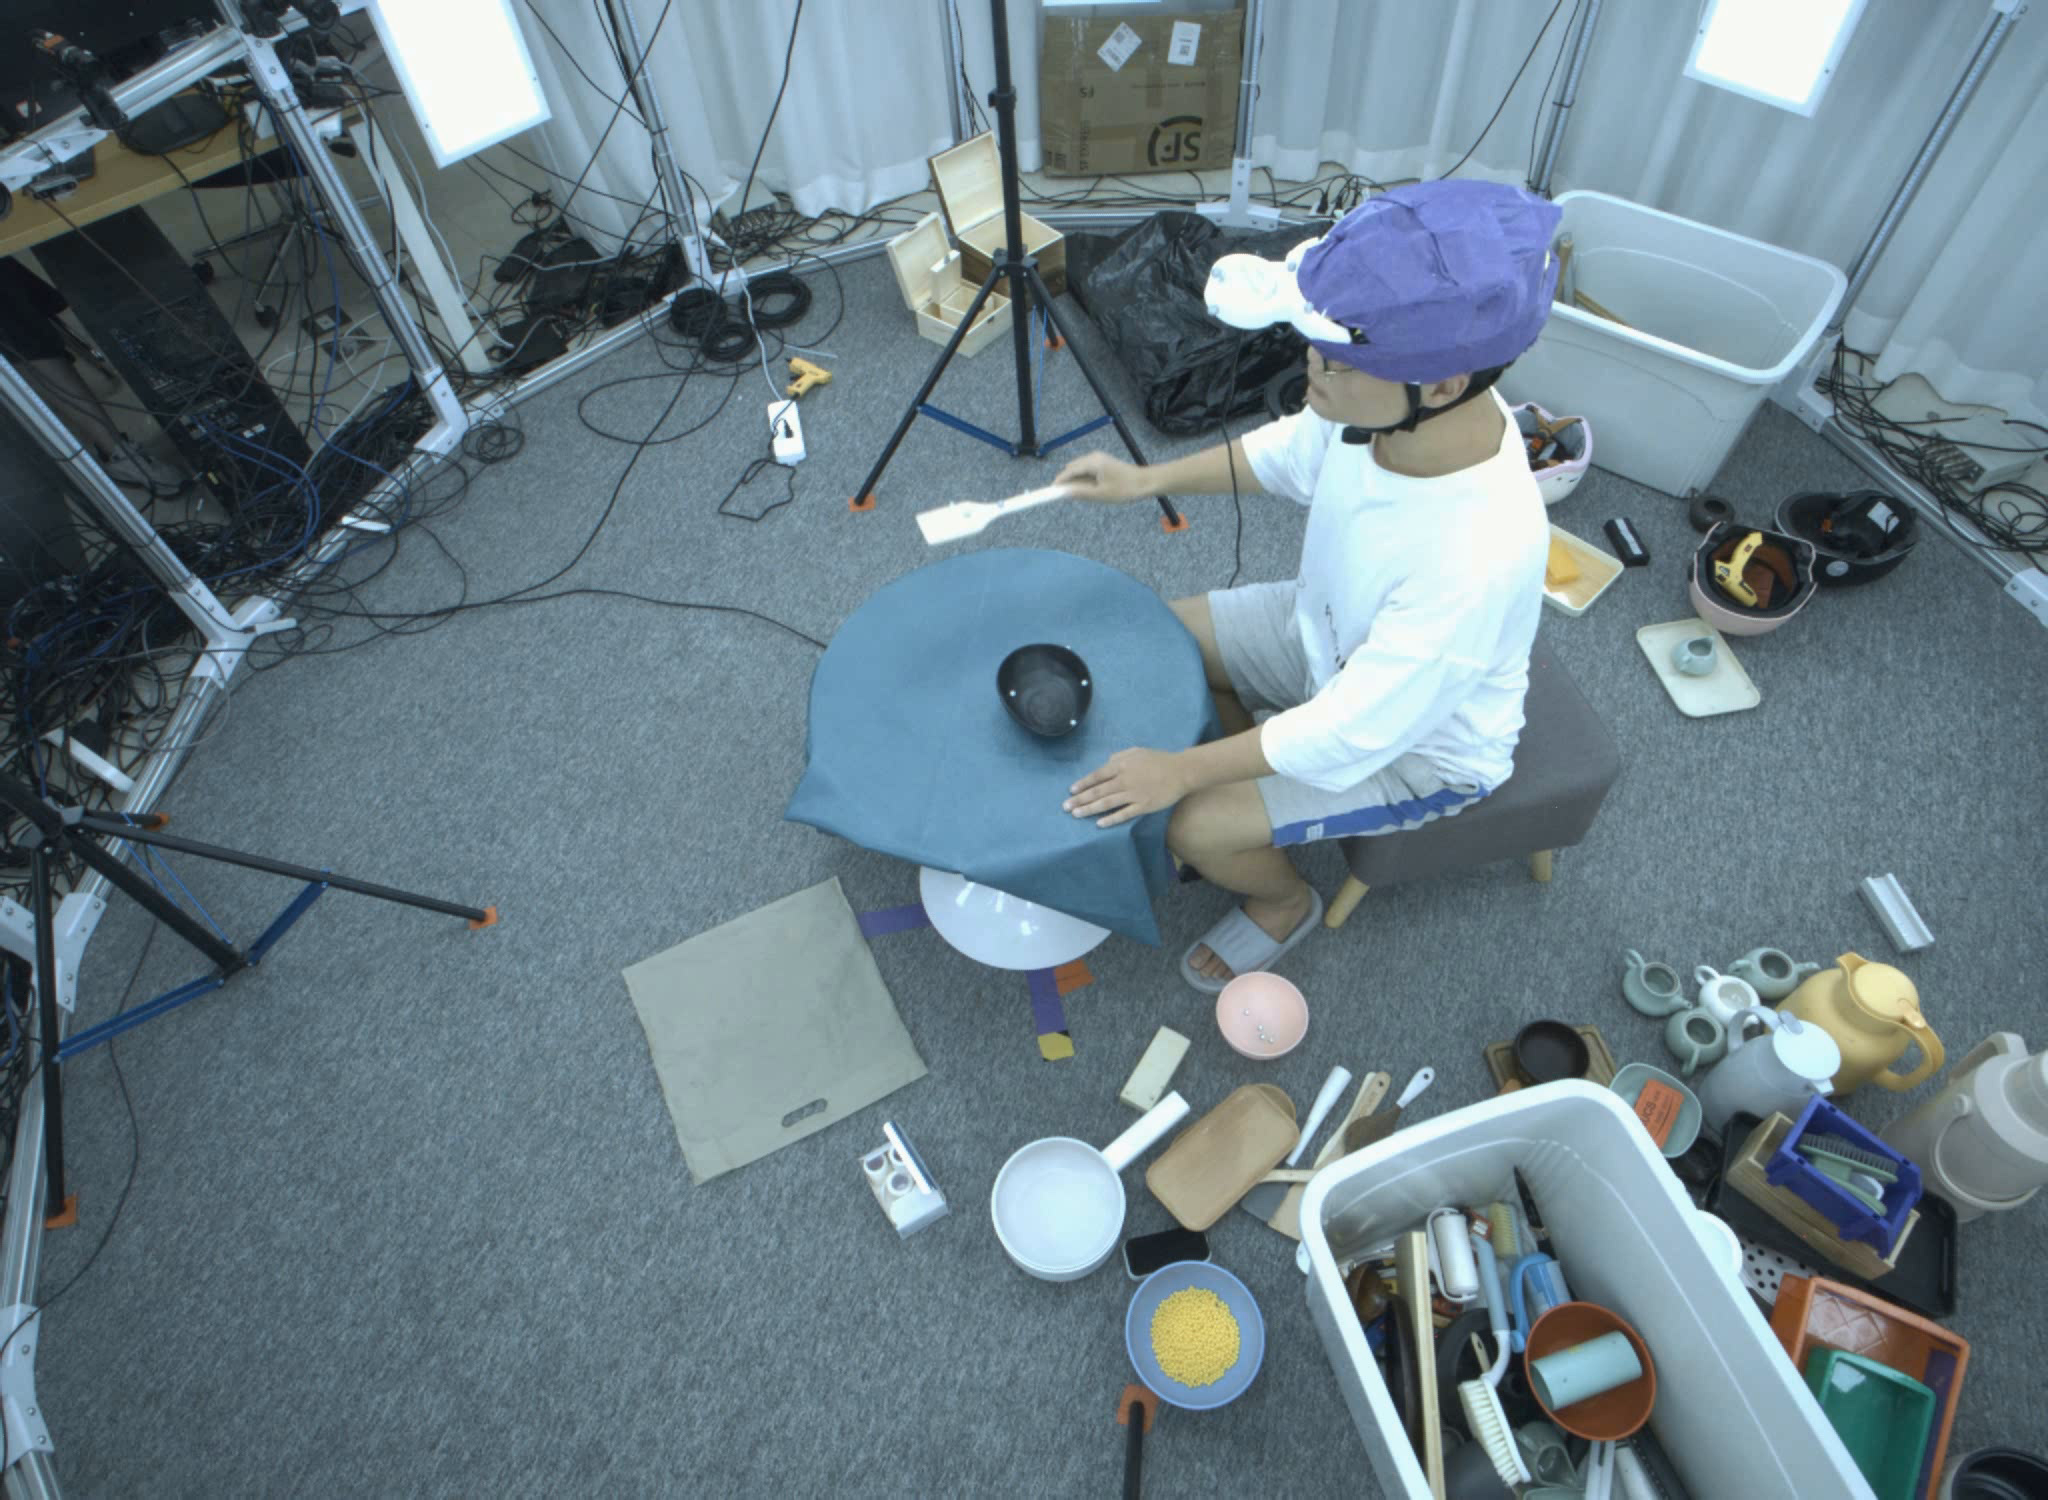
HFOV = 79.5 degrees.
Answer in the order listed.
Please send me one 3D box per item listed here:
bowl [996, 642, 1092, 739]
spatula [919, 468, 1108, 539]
[{"bbox_3d":[0.031,-0.079,1.801,0.138,0.067,0.167,-16,57,-10],"label":"bowl"},{"bbox_3d":[-0.012,-0.376,1.824,0.295,0.011,0.071,-19,54,-12],"label":"spatula"}]
